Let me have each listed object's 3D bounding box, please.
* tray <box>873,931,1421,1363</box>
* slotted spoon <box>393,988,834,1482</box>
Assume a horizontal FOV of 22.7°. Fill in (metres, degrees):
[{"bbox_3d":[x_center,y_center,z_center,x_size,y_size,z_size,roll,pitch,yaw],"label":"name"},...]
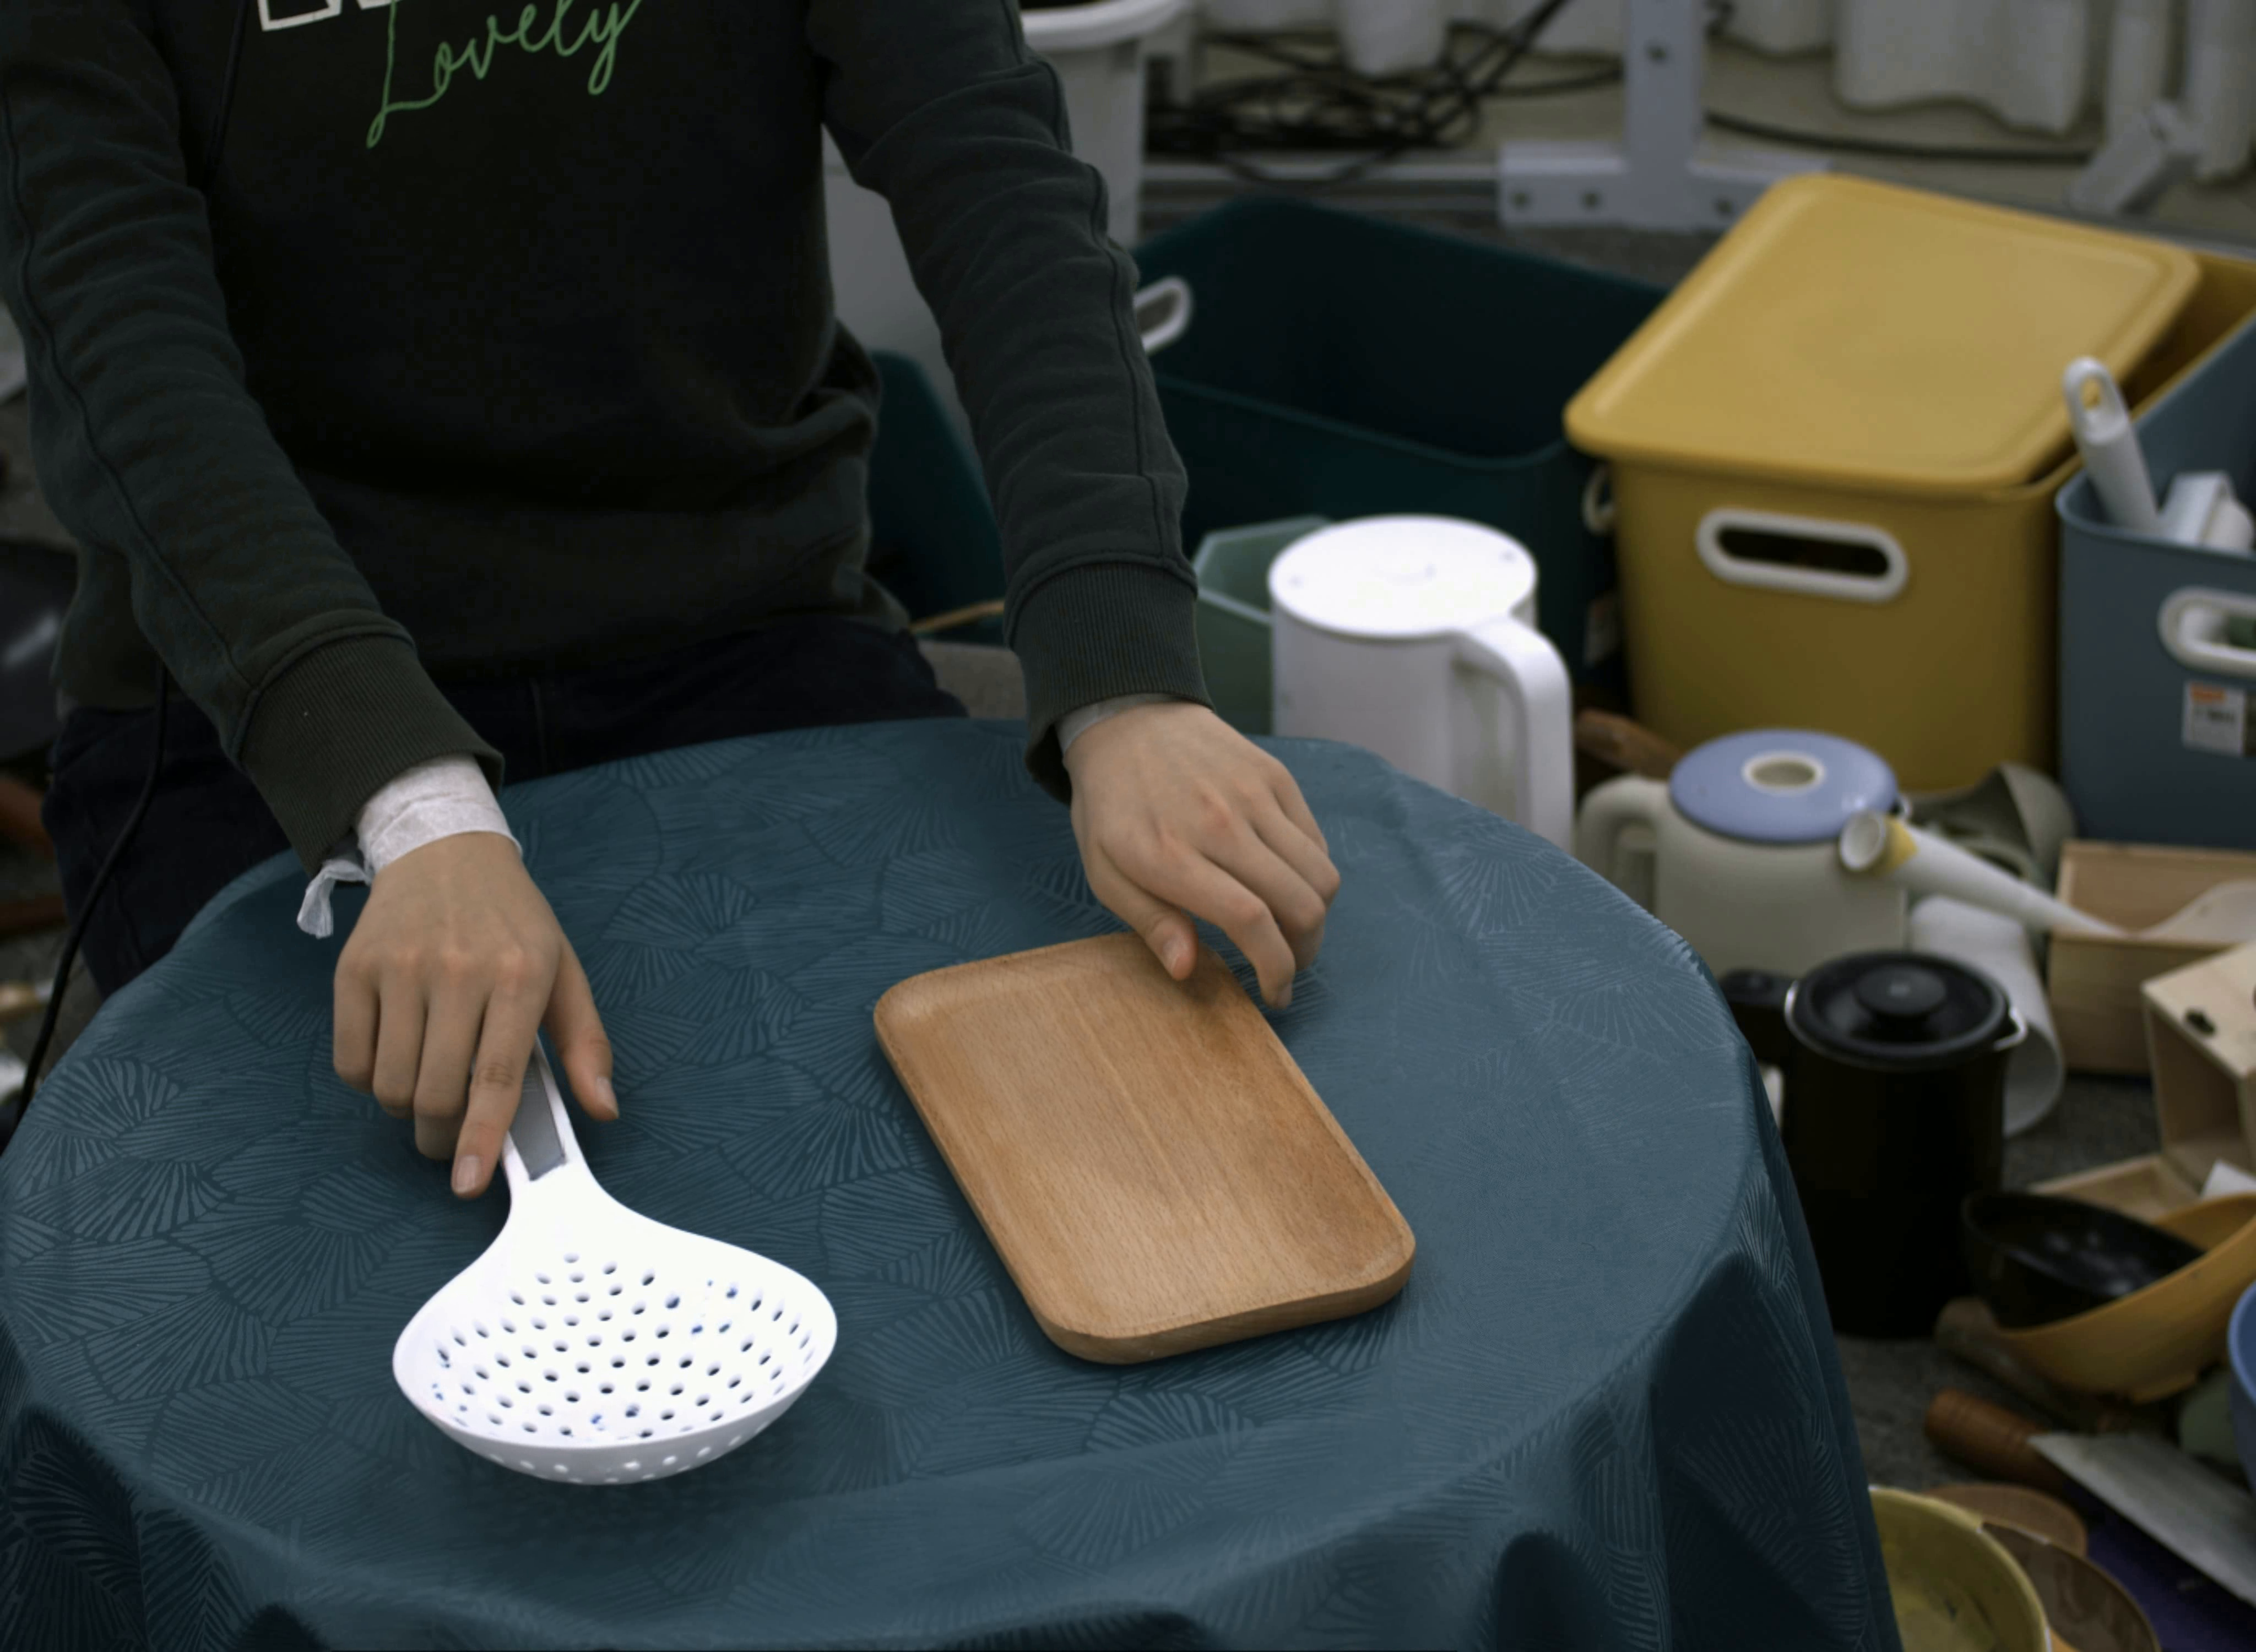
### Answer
[{"bbox_3d":[0.003,0.104,1.877,0.130,0.022,0.253,-9,27,-15],"label":"tray"},{"bbox_3d":[-0.184,0.126,1.821,0.136,0.045,0.353,-6,26,-13],"label":"slotted spoon"}]
